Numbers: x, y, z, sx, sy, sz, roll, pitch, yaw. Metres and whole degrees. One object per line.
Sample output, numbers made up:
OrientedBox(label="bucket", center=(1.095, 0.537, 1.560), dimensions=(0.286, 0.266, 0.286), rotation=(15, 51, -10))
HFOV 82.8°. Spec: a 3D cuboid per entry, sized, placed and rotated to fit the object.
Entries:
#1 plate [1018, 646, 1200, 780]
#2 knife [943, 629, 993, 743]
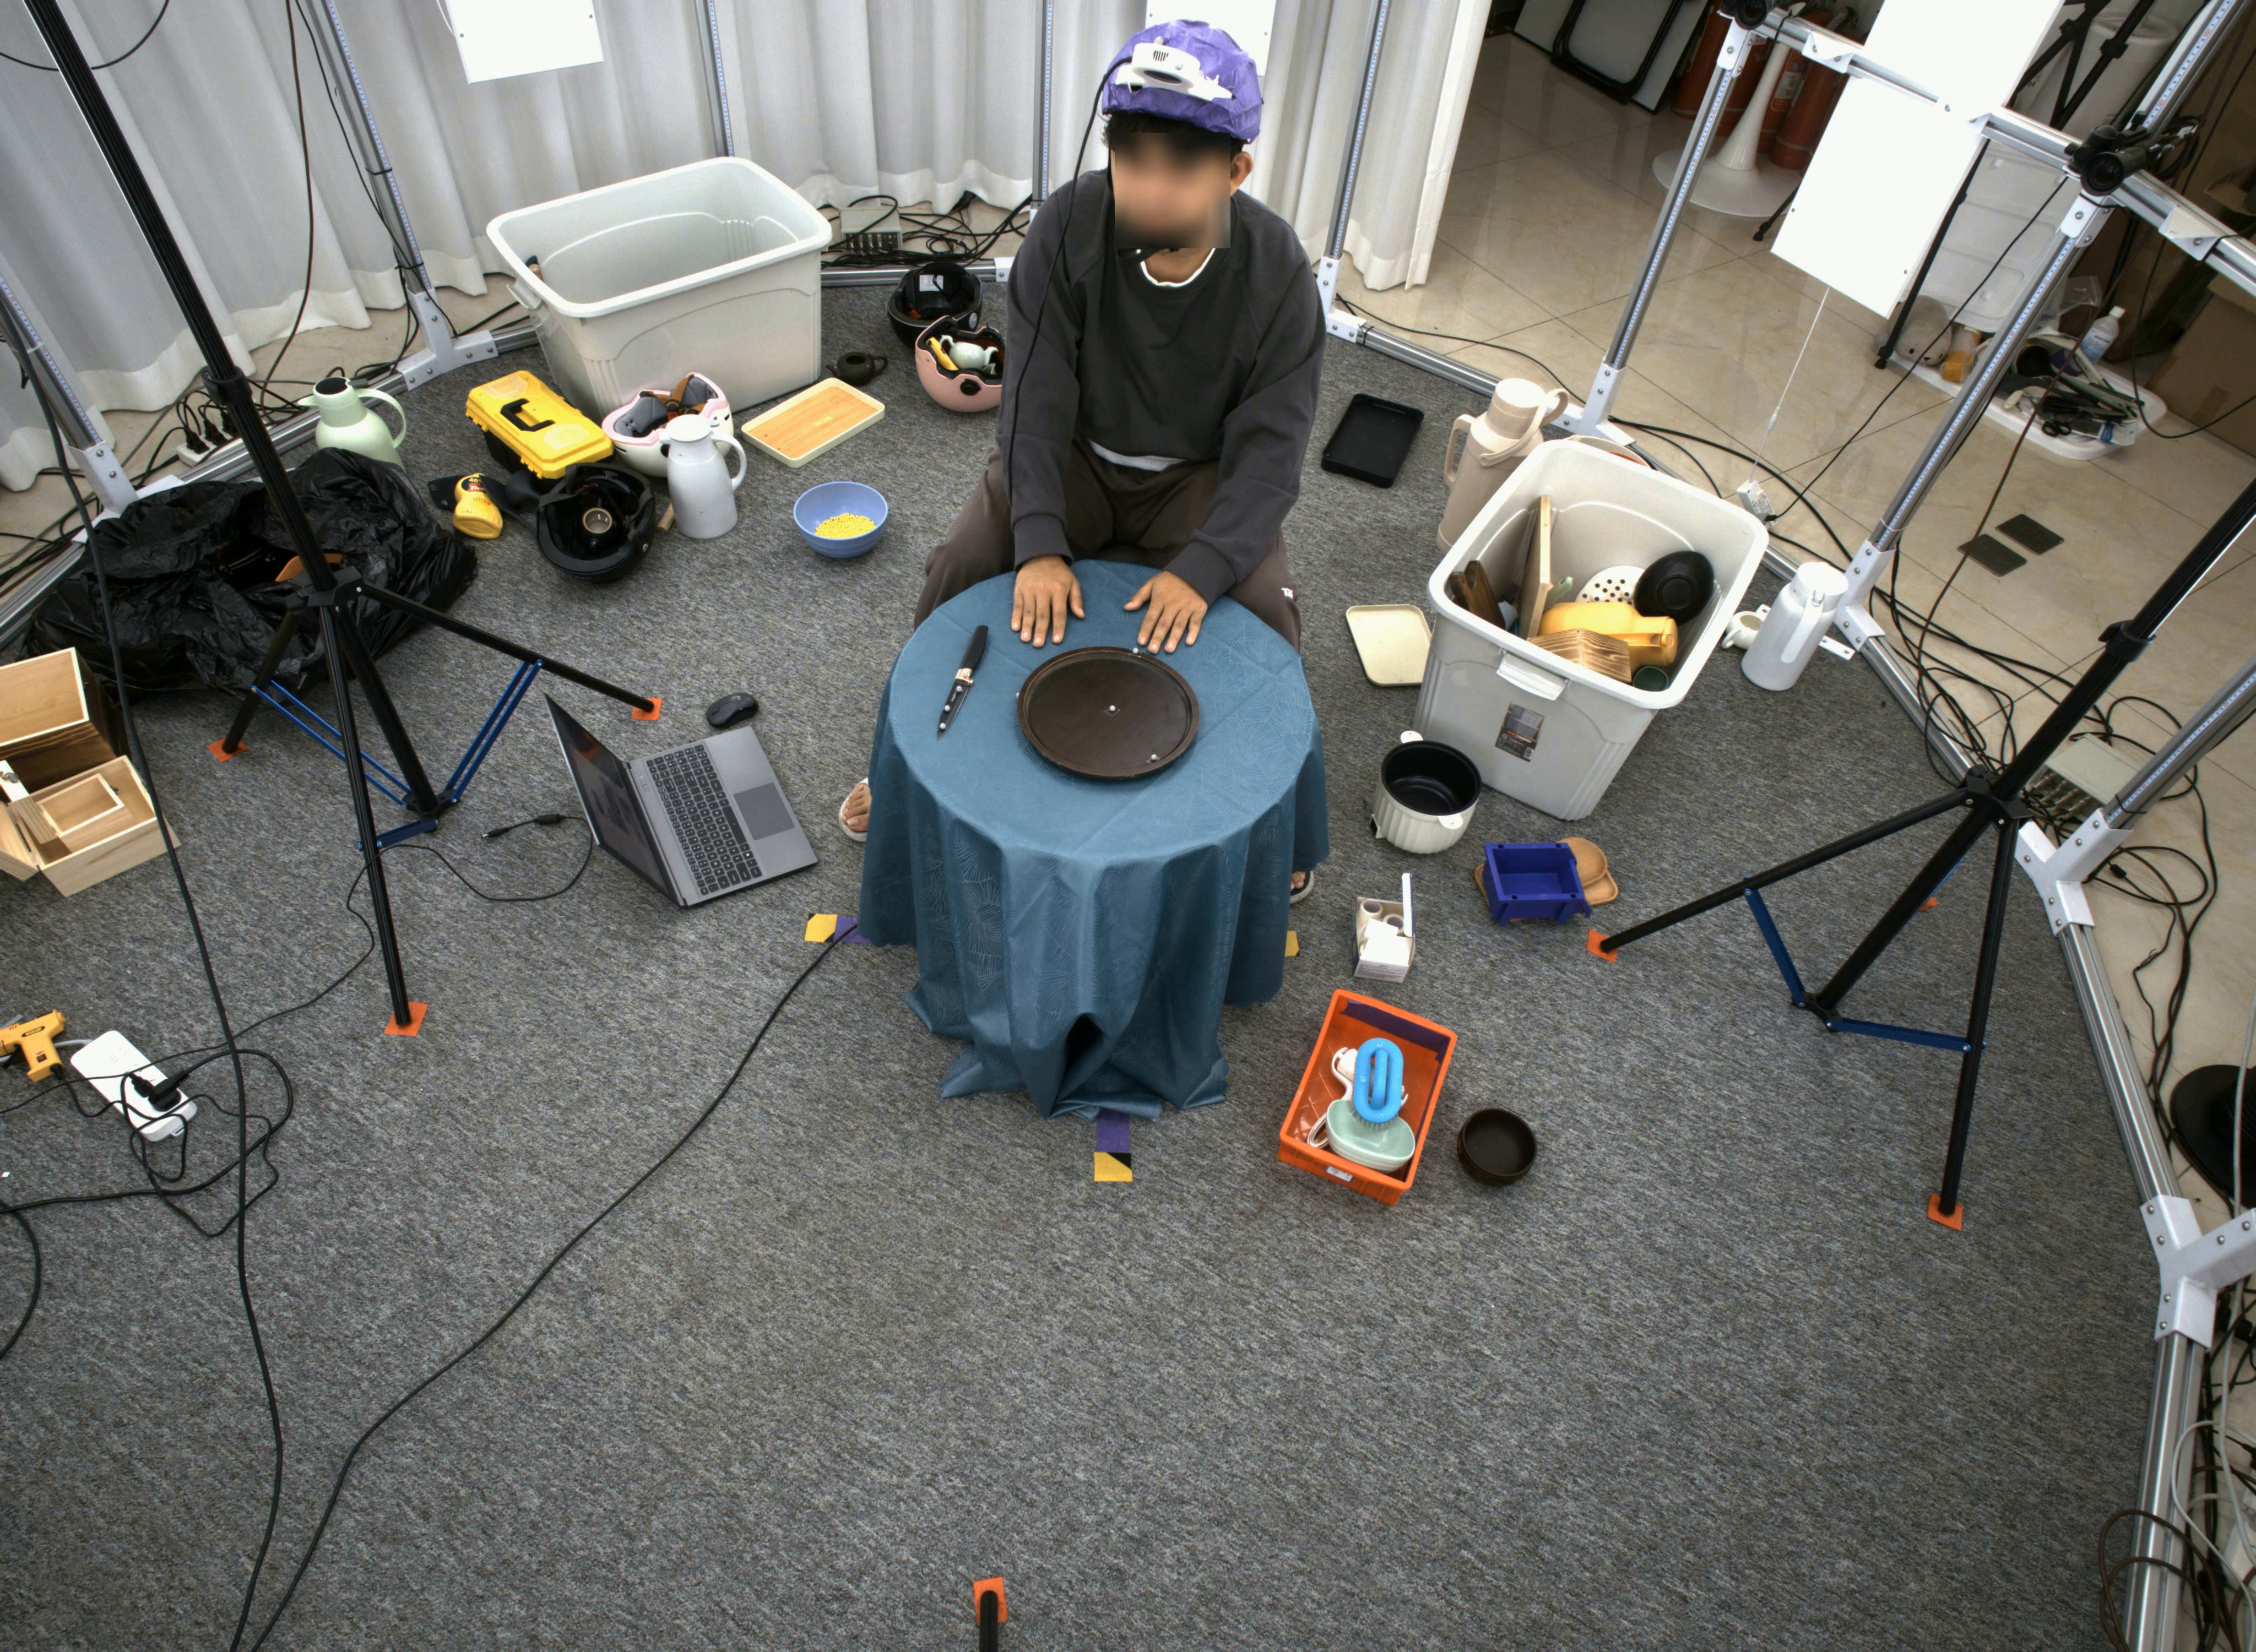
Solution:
OrientedBox(label="plate", center=(-0.026, -0.159, 1.786), dimensions=(0.254, 0.028, 0.261), rotation=(2, 48, -2))
OrientedBox(label="knife", center=(-0.229, -0.200, 1.815), dimensions=(0.026, 0.017, 0.230), rotation=(15, 50, 1))
